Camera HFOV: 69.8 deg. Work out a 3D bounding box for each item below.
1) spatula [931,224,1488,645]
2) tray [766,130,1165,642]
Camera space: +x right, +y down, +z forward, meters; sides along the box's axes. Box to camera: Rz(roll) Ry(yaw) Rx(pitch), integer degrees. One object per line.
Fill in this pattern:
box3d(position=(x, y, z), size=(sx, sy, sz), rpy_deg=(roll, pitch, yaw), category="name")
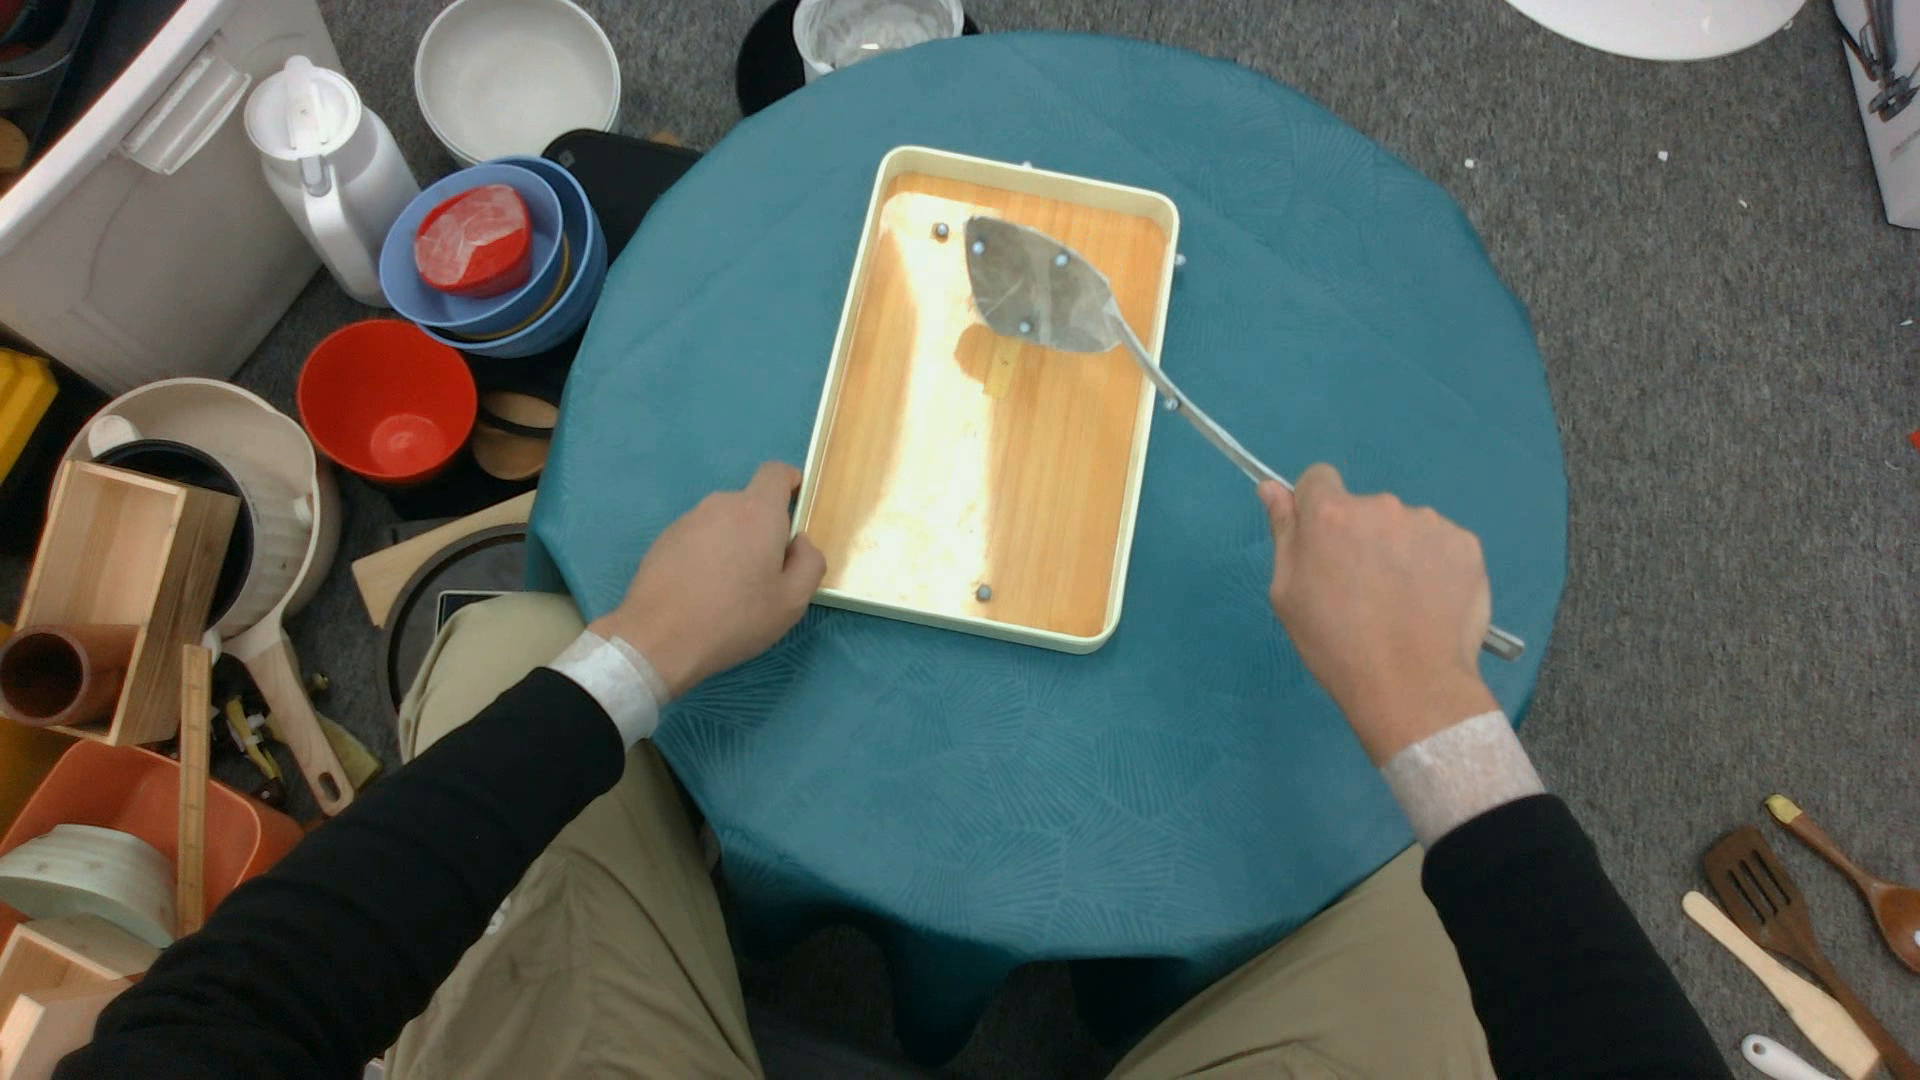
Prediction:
box3d(position=(0.117, -0.055, 0.722), size=(0.045, 0.098, 0.365), rpy_deg=(-37, 61, -17), category="spatula")
box3d(position=(0.009, -0.098, 0.814), size=(0.191, 0.027, 0.301), rpy_deg=(11, 69, 0), category="tray")
